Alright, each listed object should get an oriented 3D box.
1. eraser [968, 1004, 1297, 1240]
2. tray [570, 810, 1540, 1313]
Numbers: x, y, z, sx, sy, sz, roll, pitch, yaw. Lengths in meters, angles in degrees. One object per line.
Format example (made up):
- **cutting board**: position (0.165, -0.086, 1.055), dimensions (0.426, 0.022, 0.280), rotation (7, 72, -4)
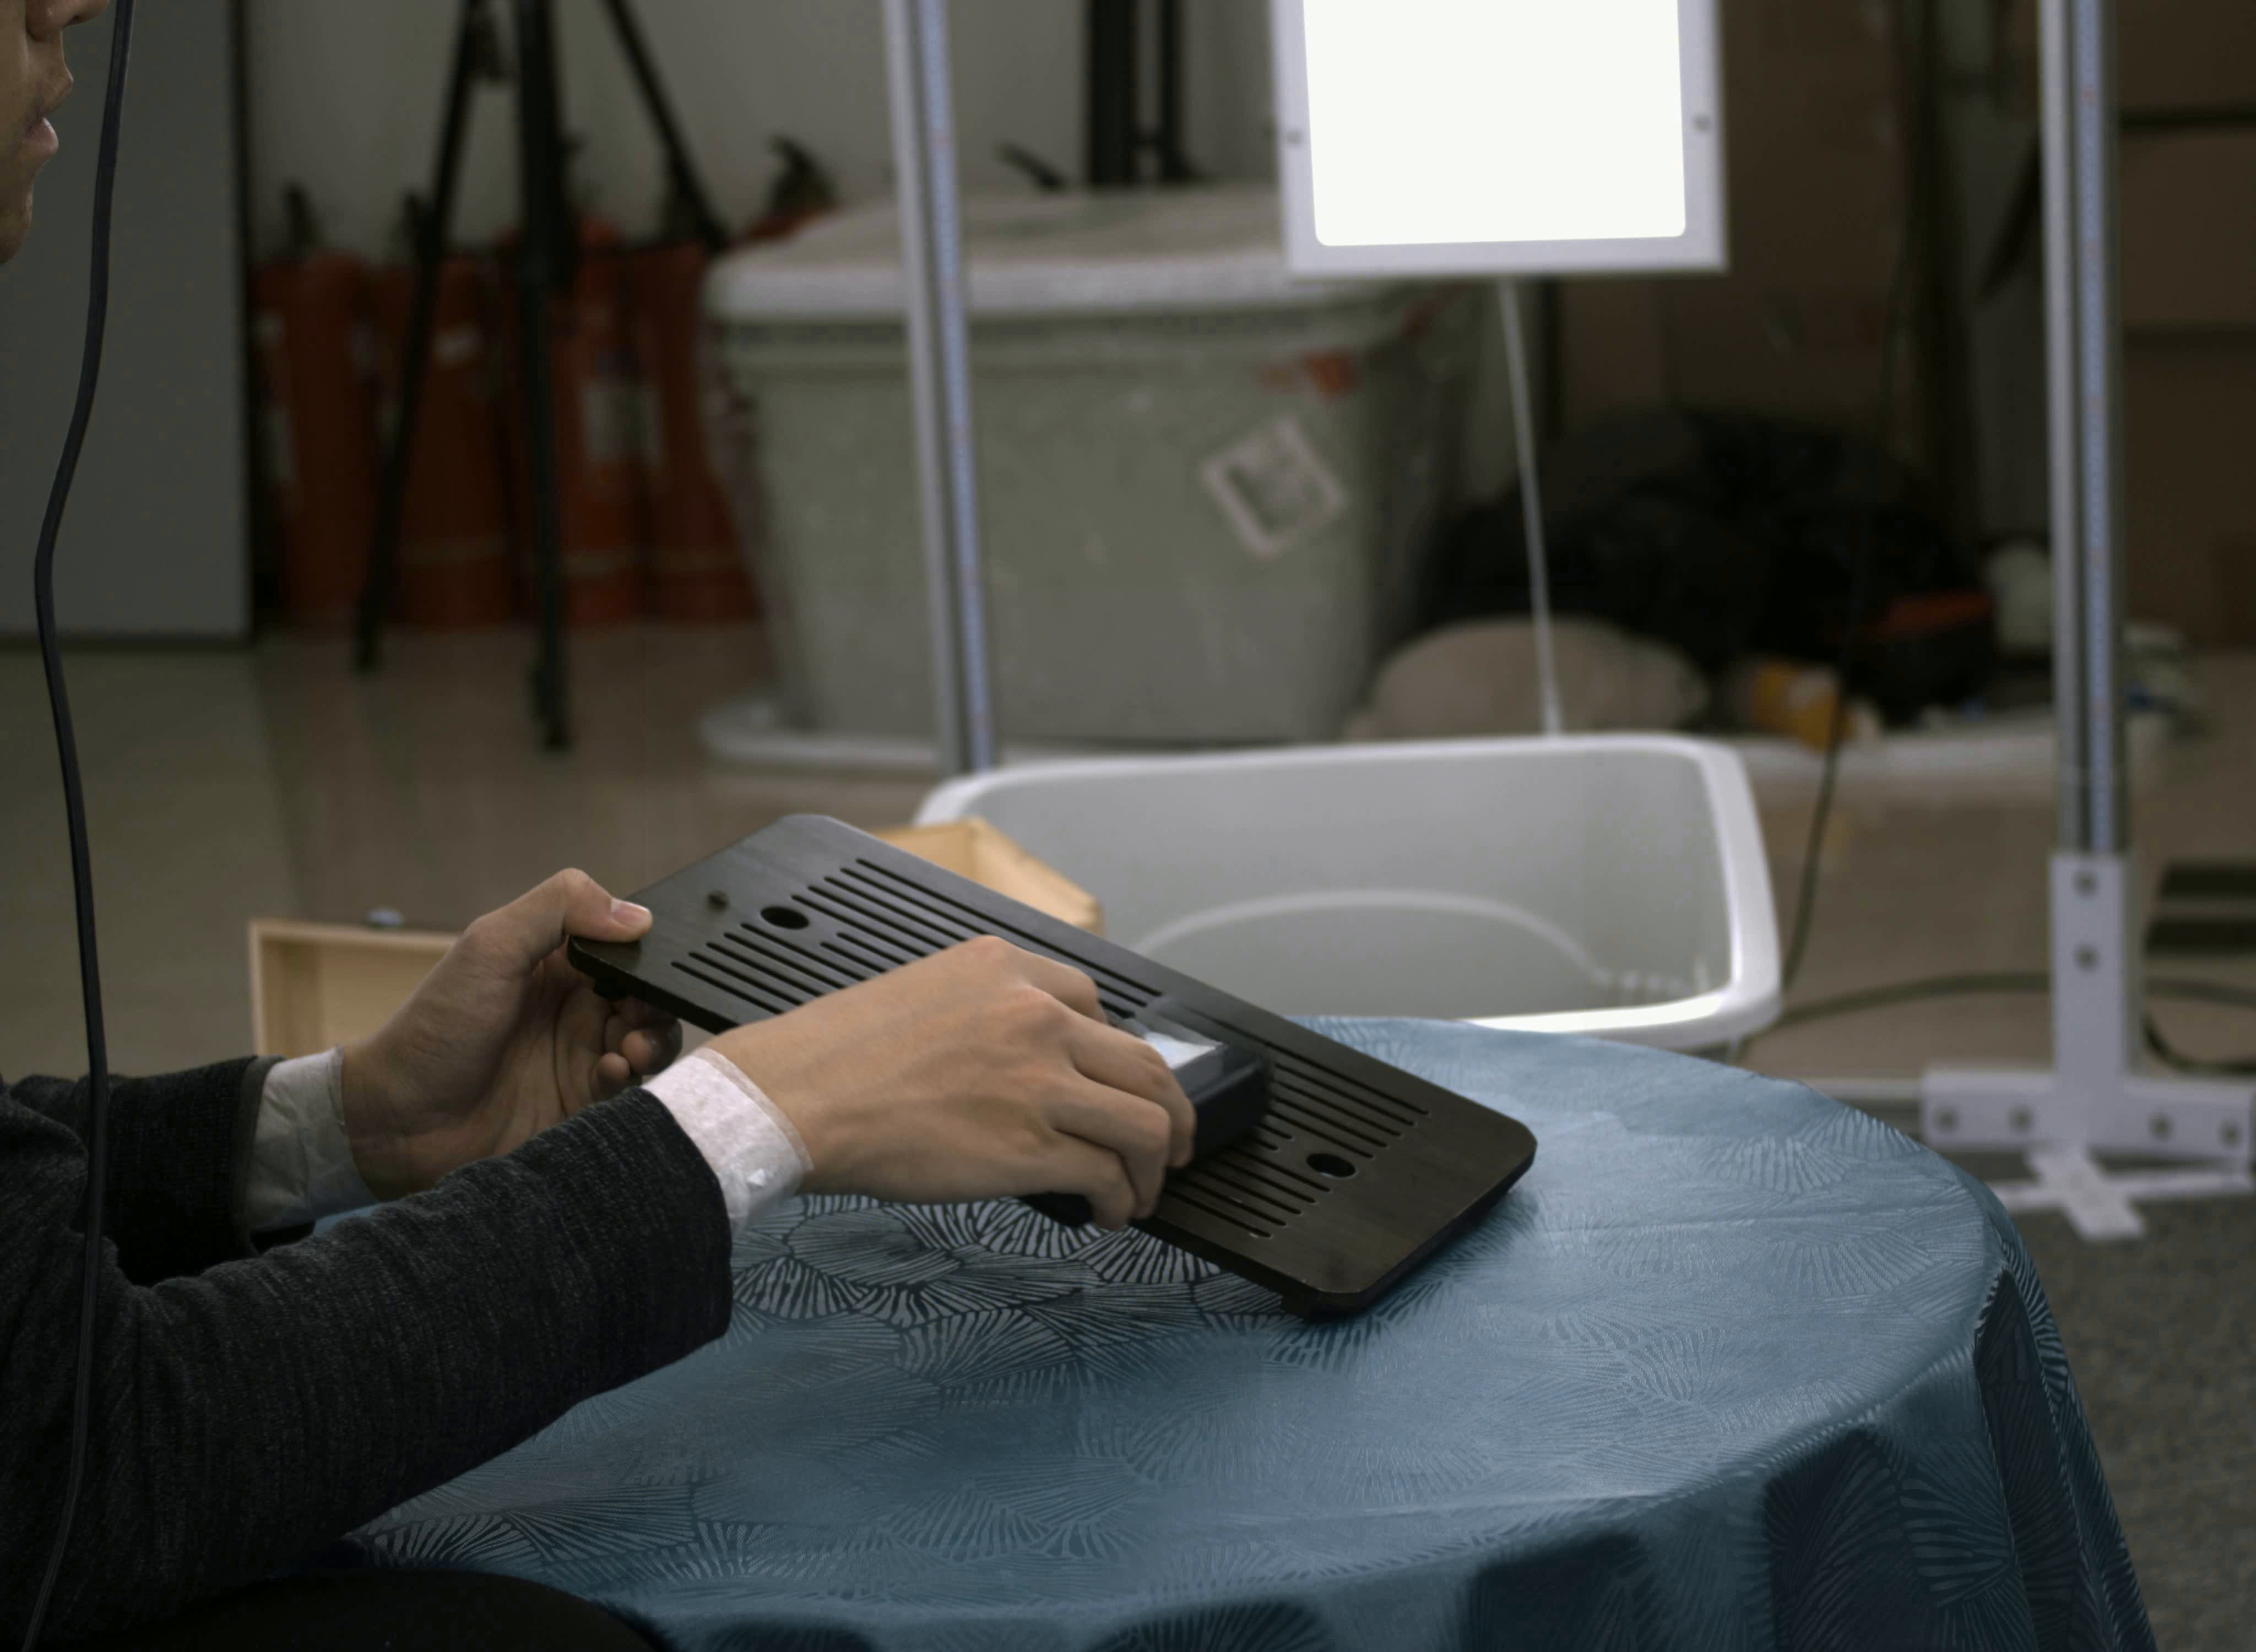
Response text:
- **eraser**: position (0.002, 0.094, 1.792), dimensions (0.054, 0.031, 0.122), rotation (23, 27, 25)
- **tray**: position (-0.024, 0.077, 1.867), dimensions (0.310, 0.019, 0.166), rotation (23, 26, 22)
